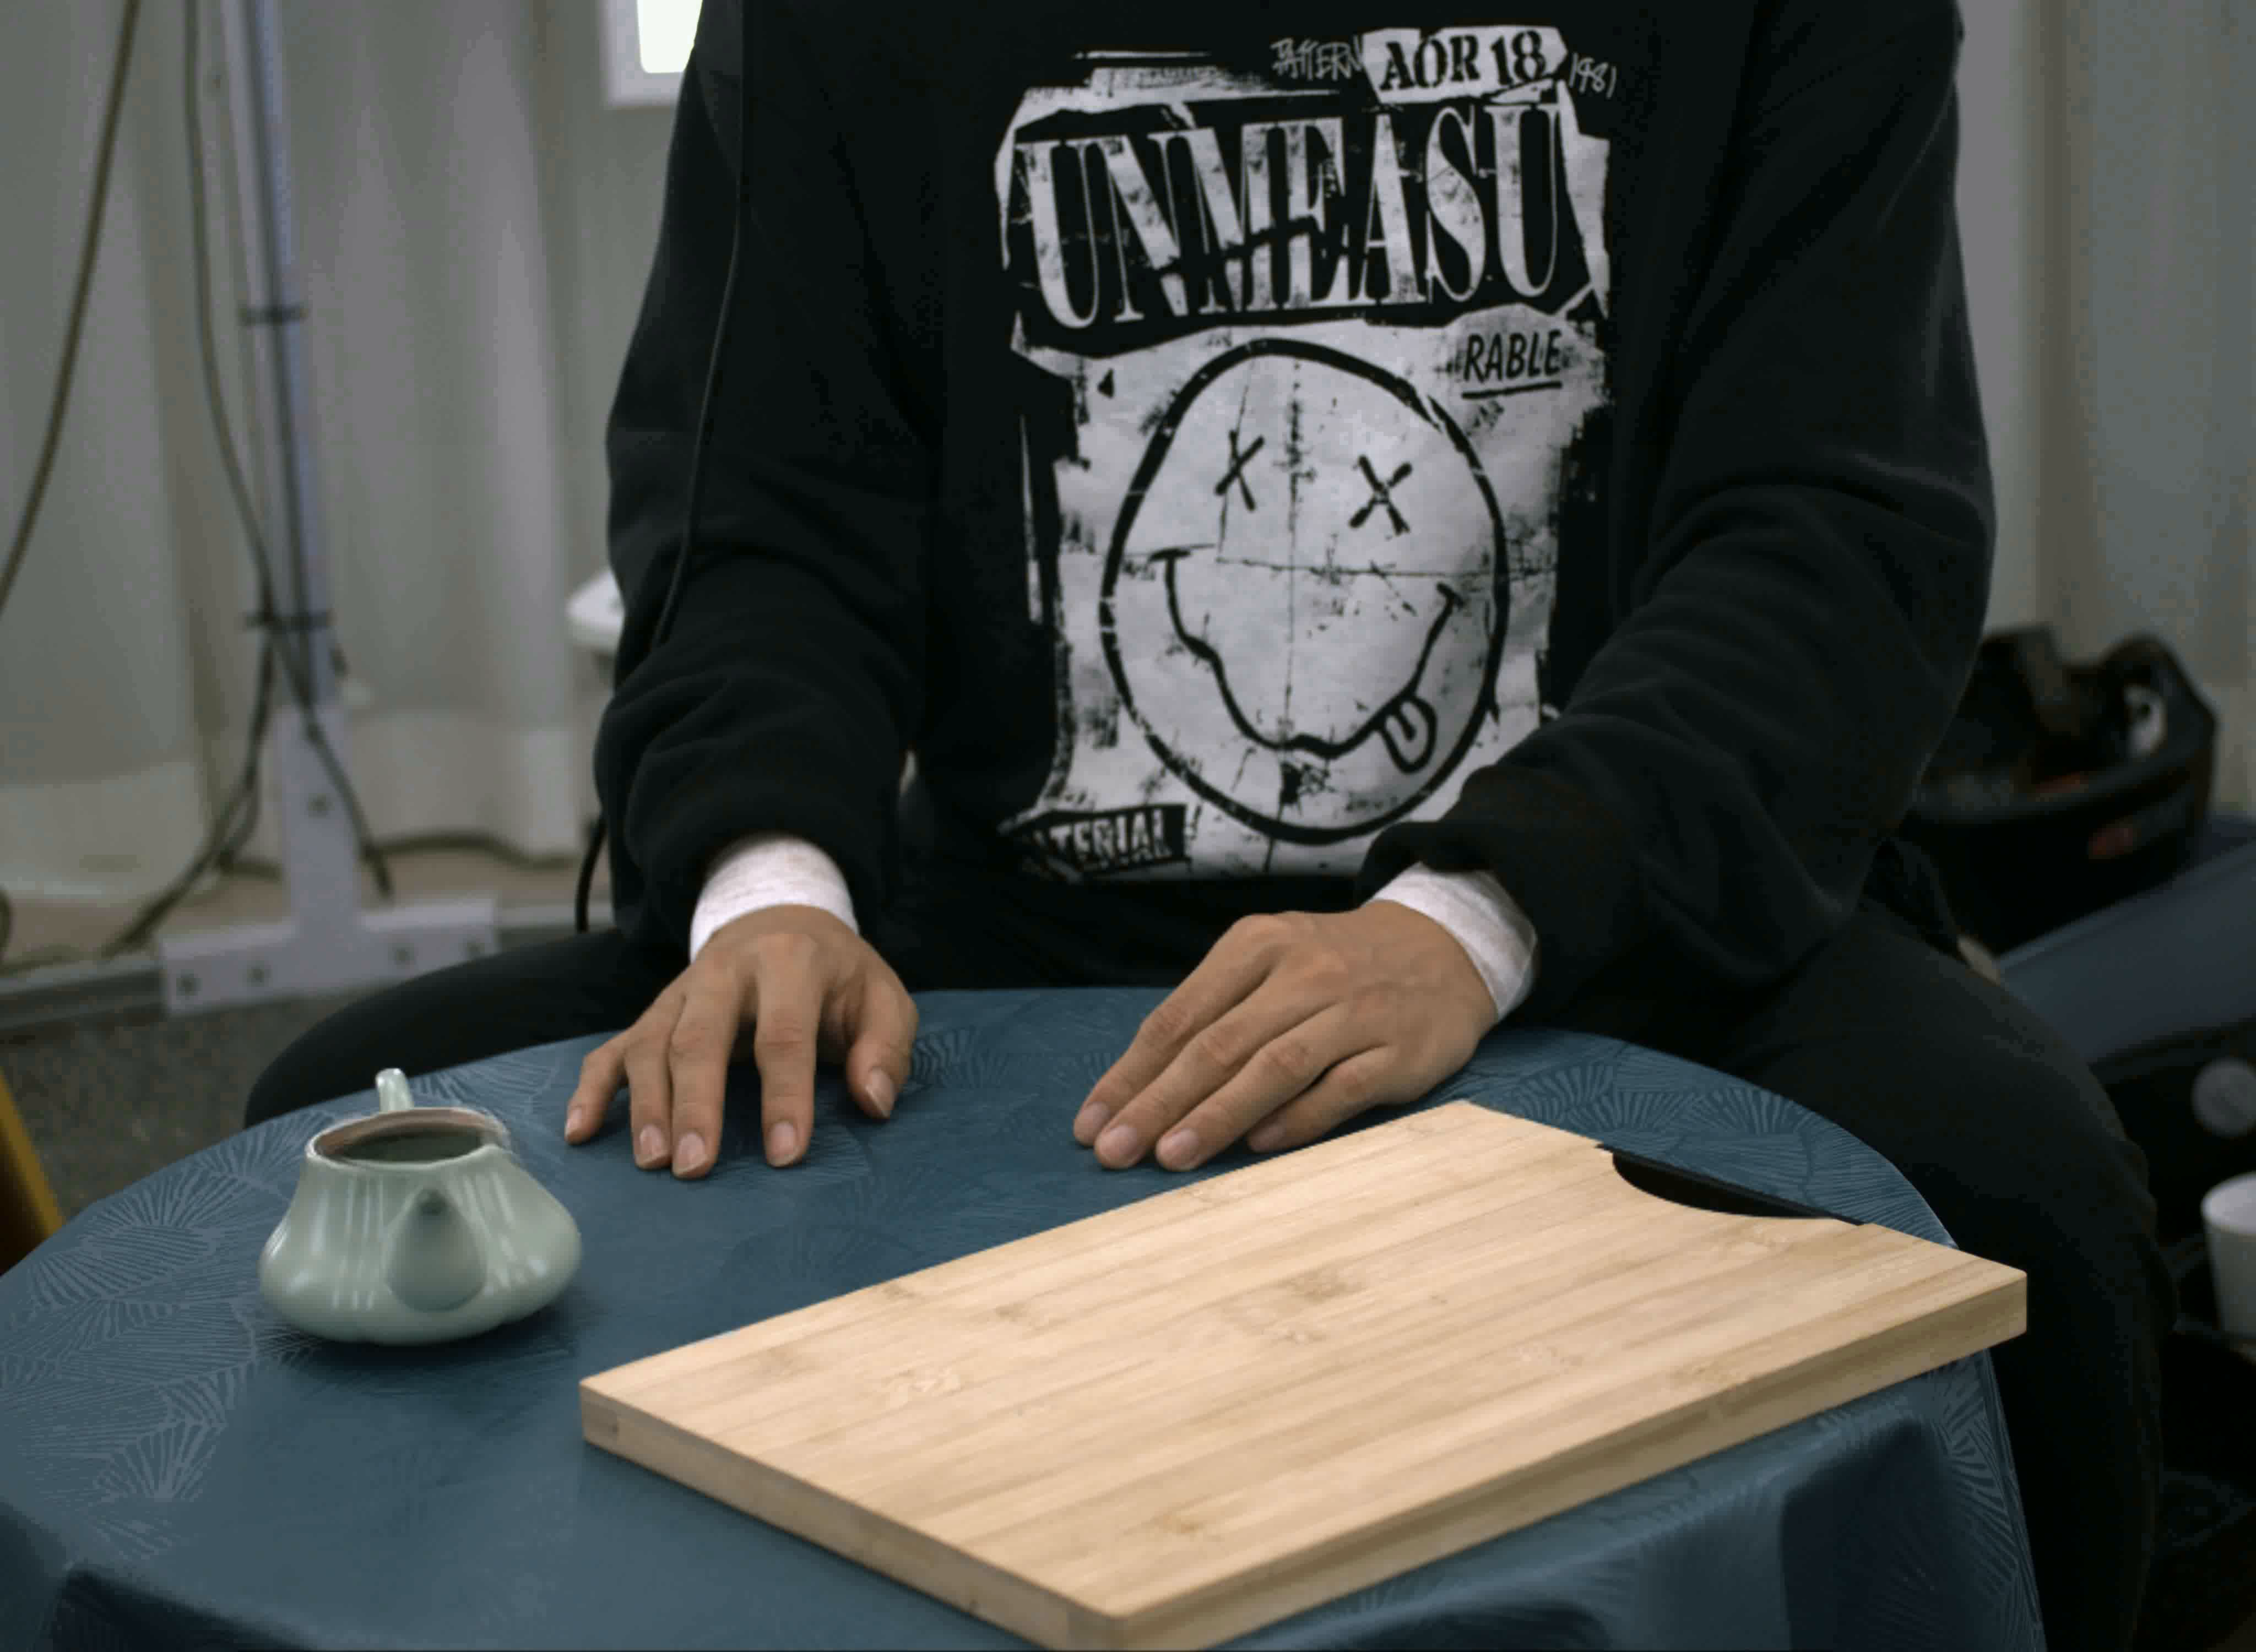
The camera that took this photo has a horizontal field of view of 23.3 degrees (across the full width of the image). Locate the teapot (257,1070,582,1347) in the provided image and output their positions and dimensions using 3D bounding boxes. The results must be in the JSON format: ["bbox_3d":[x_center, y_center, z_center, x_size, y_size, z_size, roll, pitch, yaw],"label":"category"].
[{"bbox_3d":[-0.213,0.117,1.631,0.096,0.061,0.138,-8,16,-14],"label":"teapot"}]

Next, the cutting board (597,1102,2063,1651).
[{"bbox_3d":[0.056,0.150,1.541,0.348,0.023,0.252,-15,19,-38],"label":"cutting board"}]
